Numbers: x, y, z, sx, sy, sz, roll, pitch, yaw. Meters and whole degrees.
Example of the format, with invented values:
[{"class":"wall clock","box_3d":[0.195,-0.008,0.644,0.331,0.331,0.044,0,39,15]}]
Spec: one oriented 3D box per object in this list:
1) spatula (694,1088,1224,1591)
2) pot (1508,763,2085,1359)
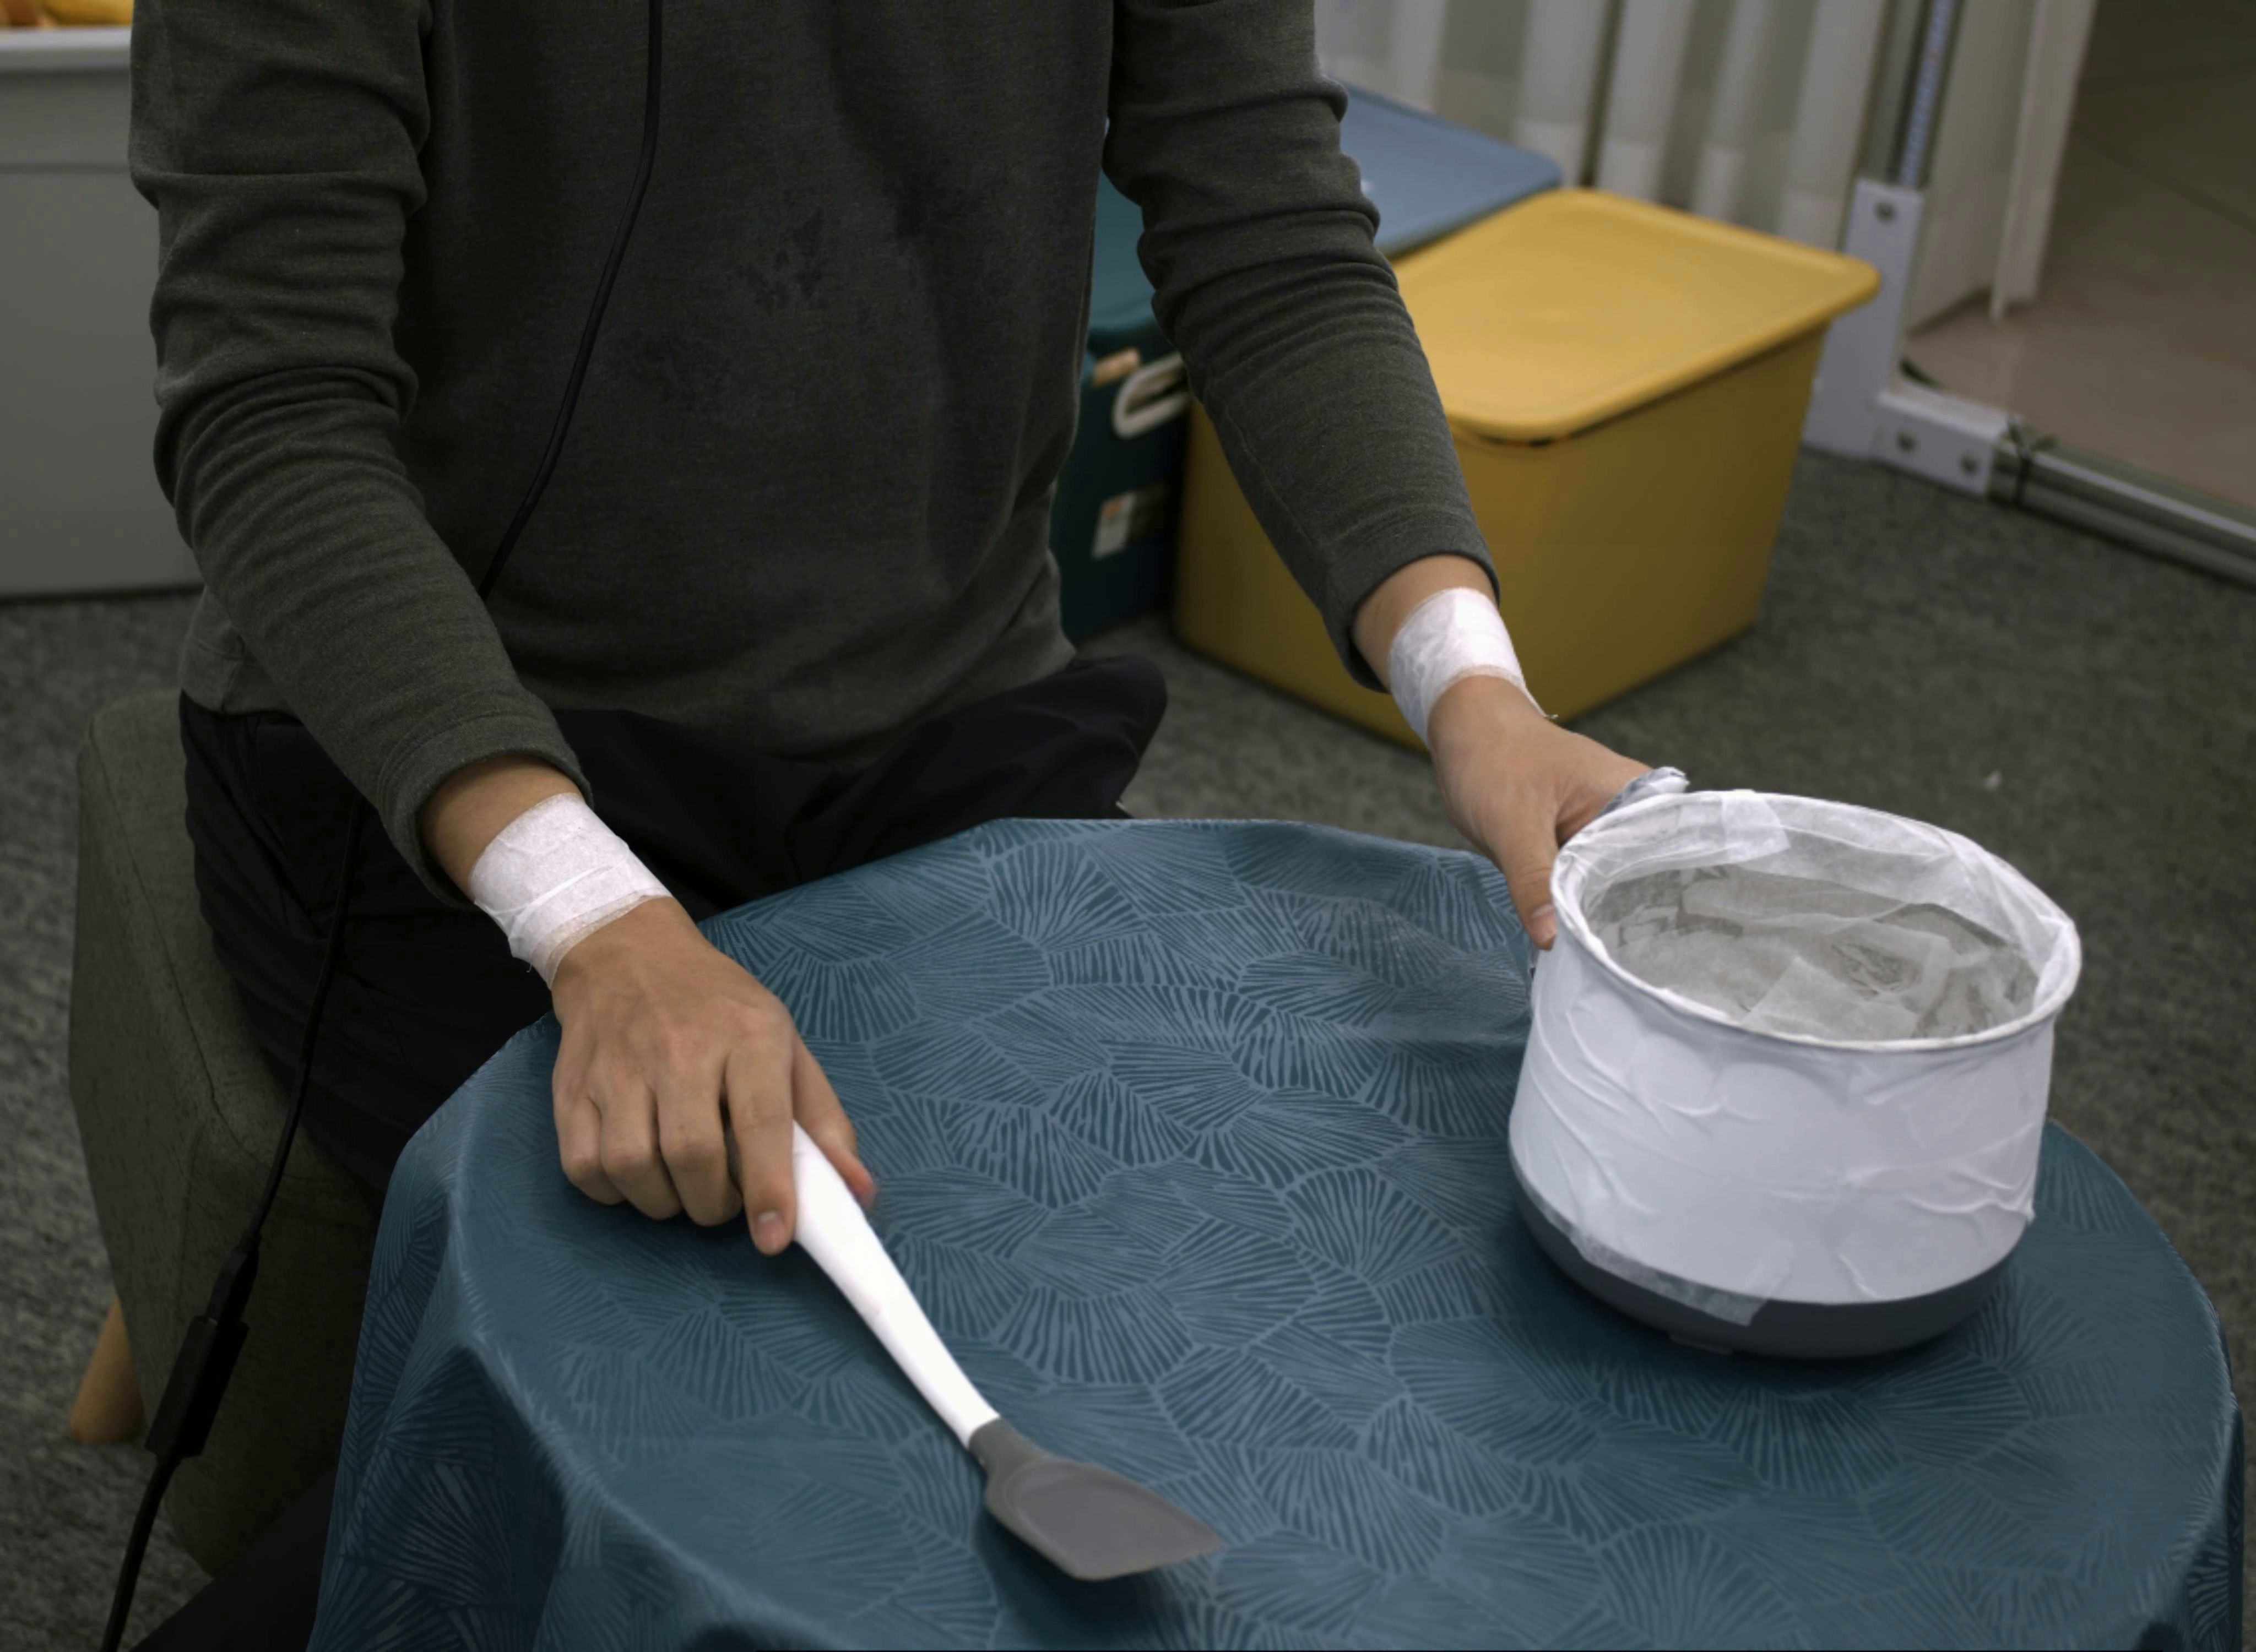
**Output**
[{"class":"spatula","box_3d":[-0.062,0.164,1.674,0.058,0.032,0.290,-6,29,-30]},{"class":"pot","box_3d":[0.208,0.072,1.802,0.177,0.136,0.236,-7,29,-26]}]
